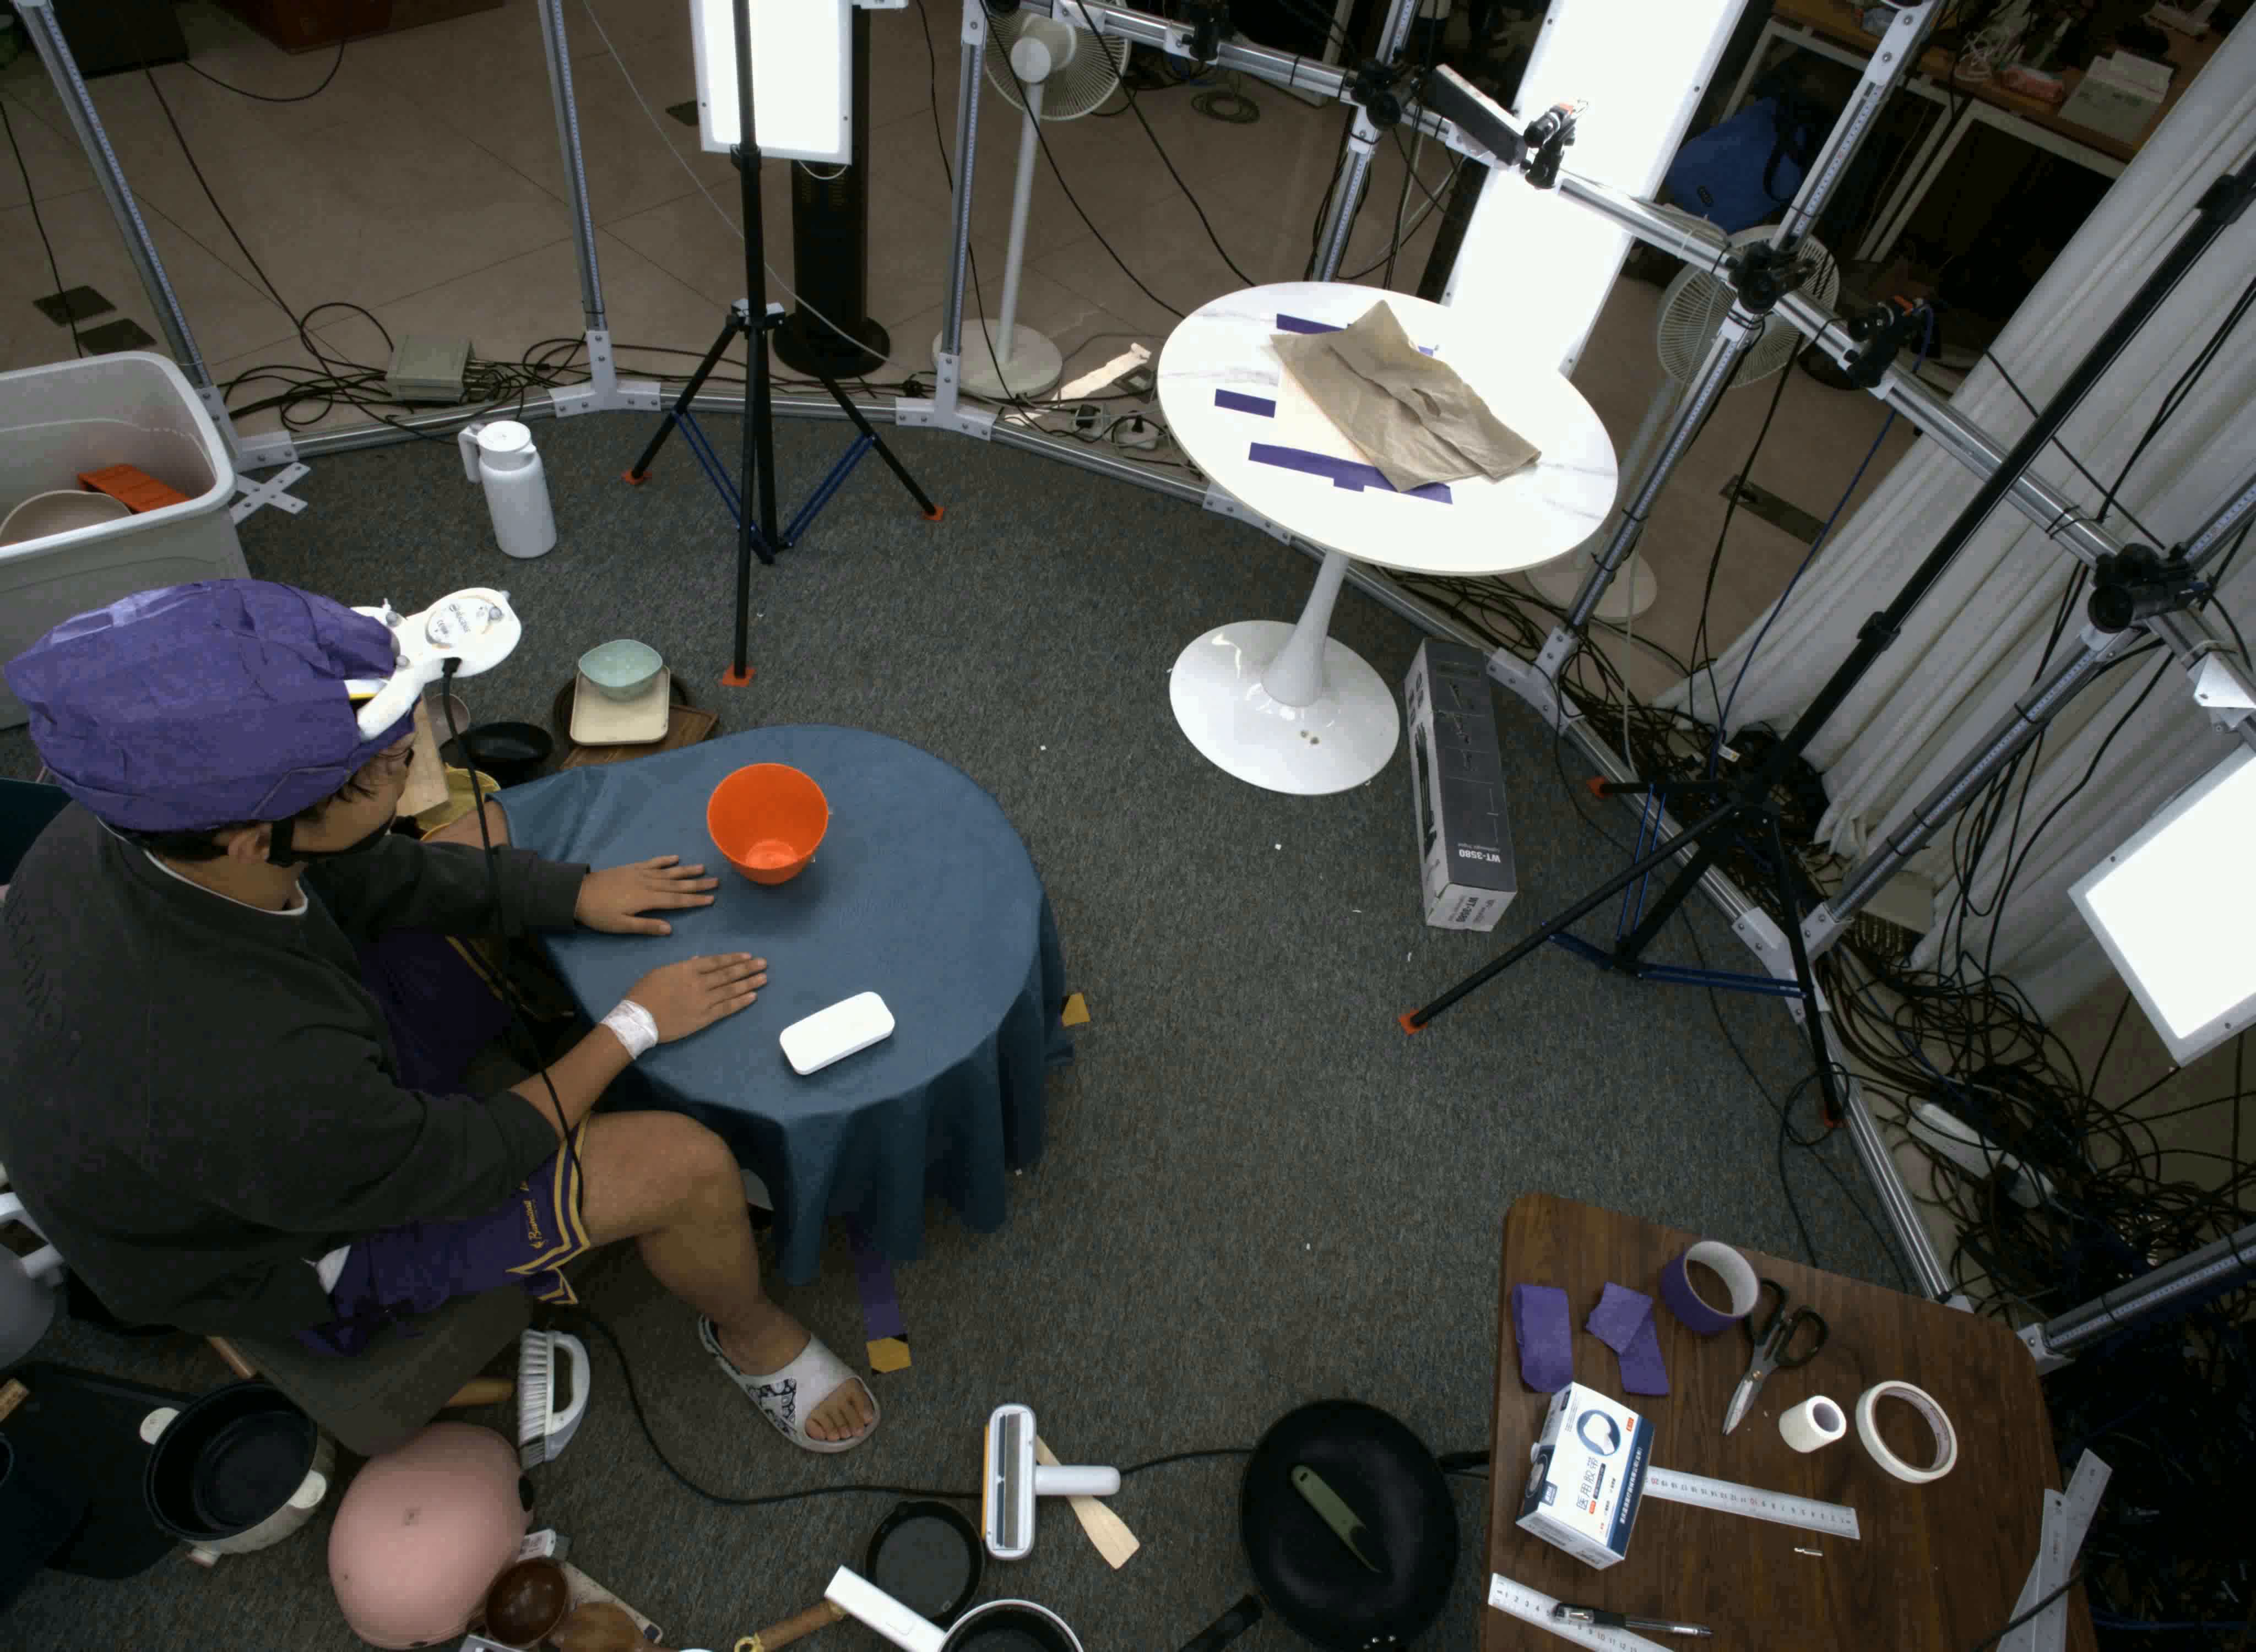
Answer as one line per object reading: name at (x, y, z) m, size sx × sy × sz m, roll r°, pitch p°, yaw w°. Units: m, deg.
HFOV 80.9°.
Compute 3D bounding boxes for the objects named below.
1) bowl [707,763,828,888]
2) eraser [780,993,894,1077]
bowl at (-0.457, 0.010, 1.649) m, size 0.148 × 0.107 × 0.145 m, roll 7°, pitch 53°, yaw -8°
eraser at (-0.346, 0.244, 1.546) m, size 0.132 × 0.035 × 0.062 m, roll -22°, pitch 60°, yaw -29°
